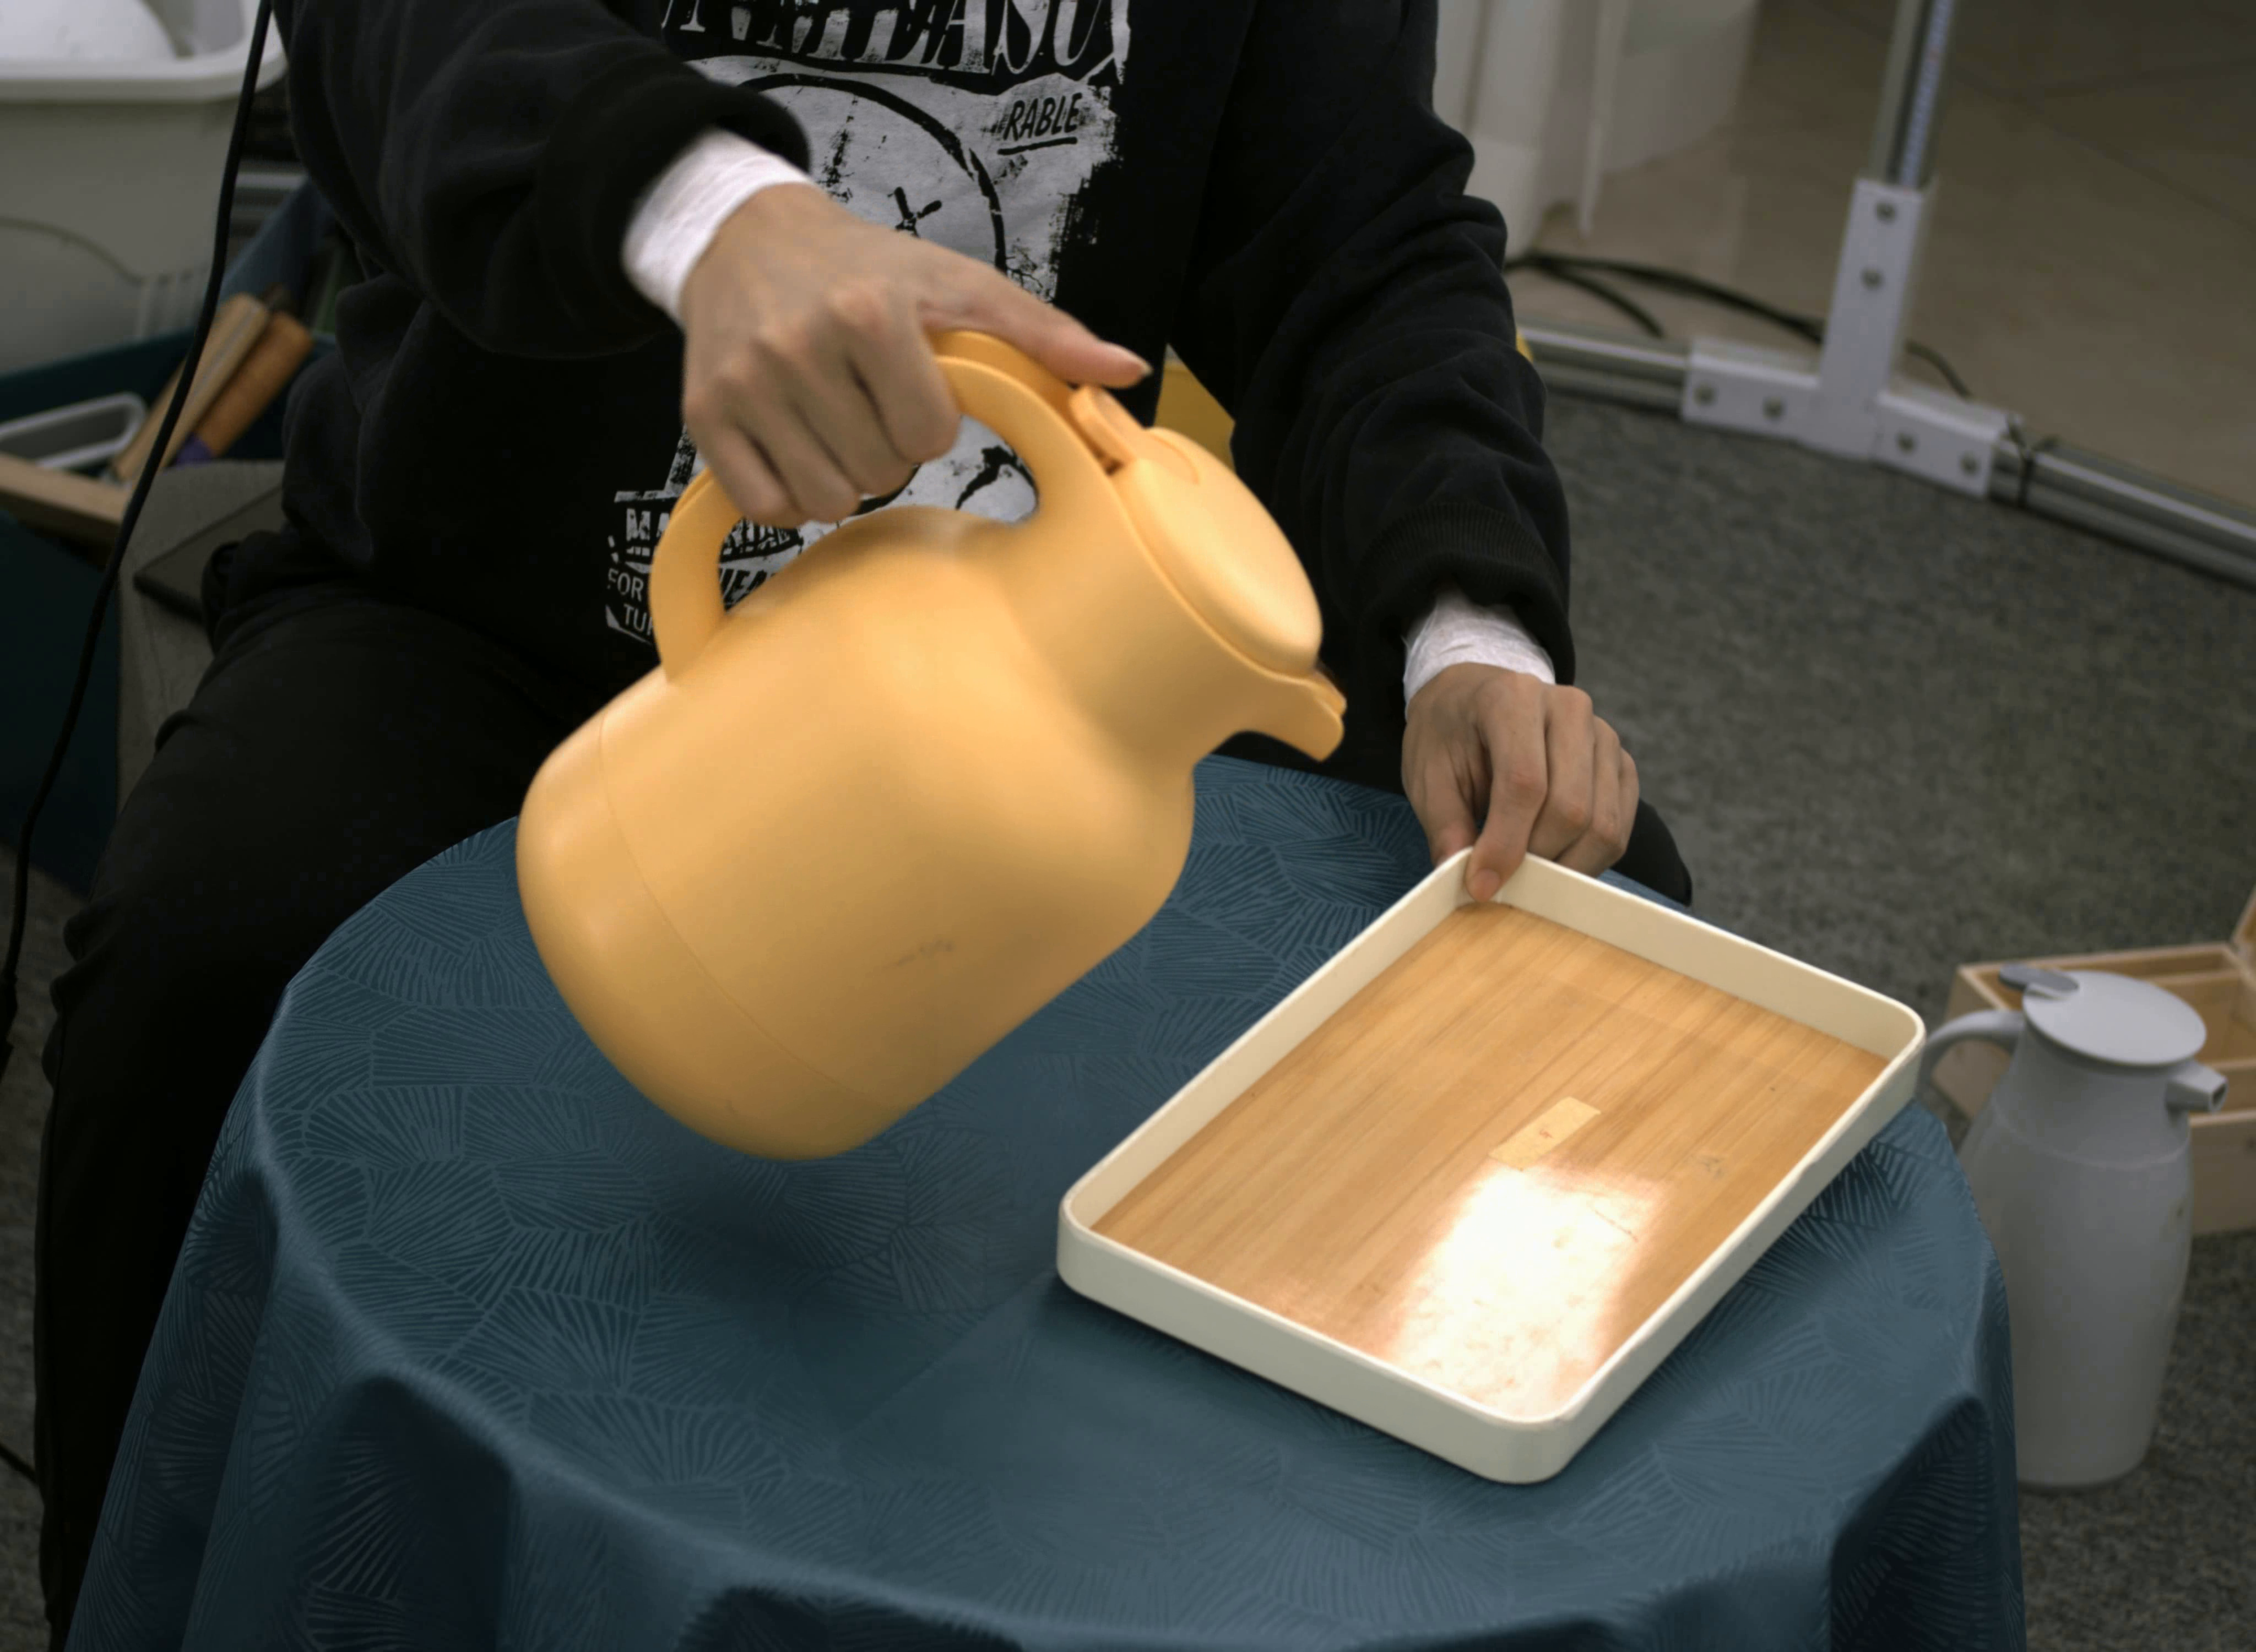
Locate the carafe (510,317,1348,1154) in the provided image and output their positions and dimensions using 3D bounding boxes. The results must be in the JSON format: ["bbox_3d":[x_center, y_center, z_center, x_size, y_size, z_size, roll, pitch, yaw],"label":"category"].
[{"bbox_3d":[-0.072,-0.036,1.682,0.201,0.260,0.164,50,17,-14],"label":"carafe"}]

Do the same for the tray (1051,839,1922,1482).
[{"bbox_3d":[0.126,0.106,1.806,0.192,0.027,0.300,23,36,24],"label":"tray"}]
